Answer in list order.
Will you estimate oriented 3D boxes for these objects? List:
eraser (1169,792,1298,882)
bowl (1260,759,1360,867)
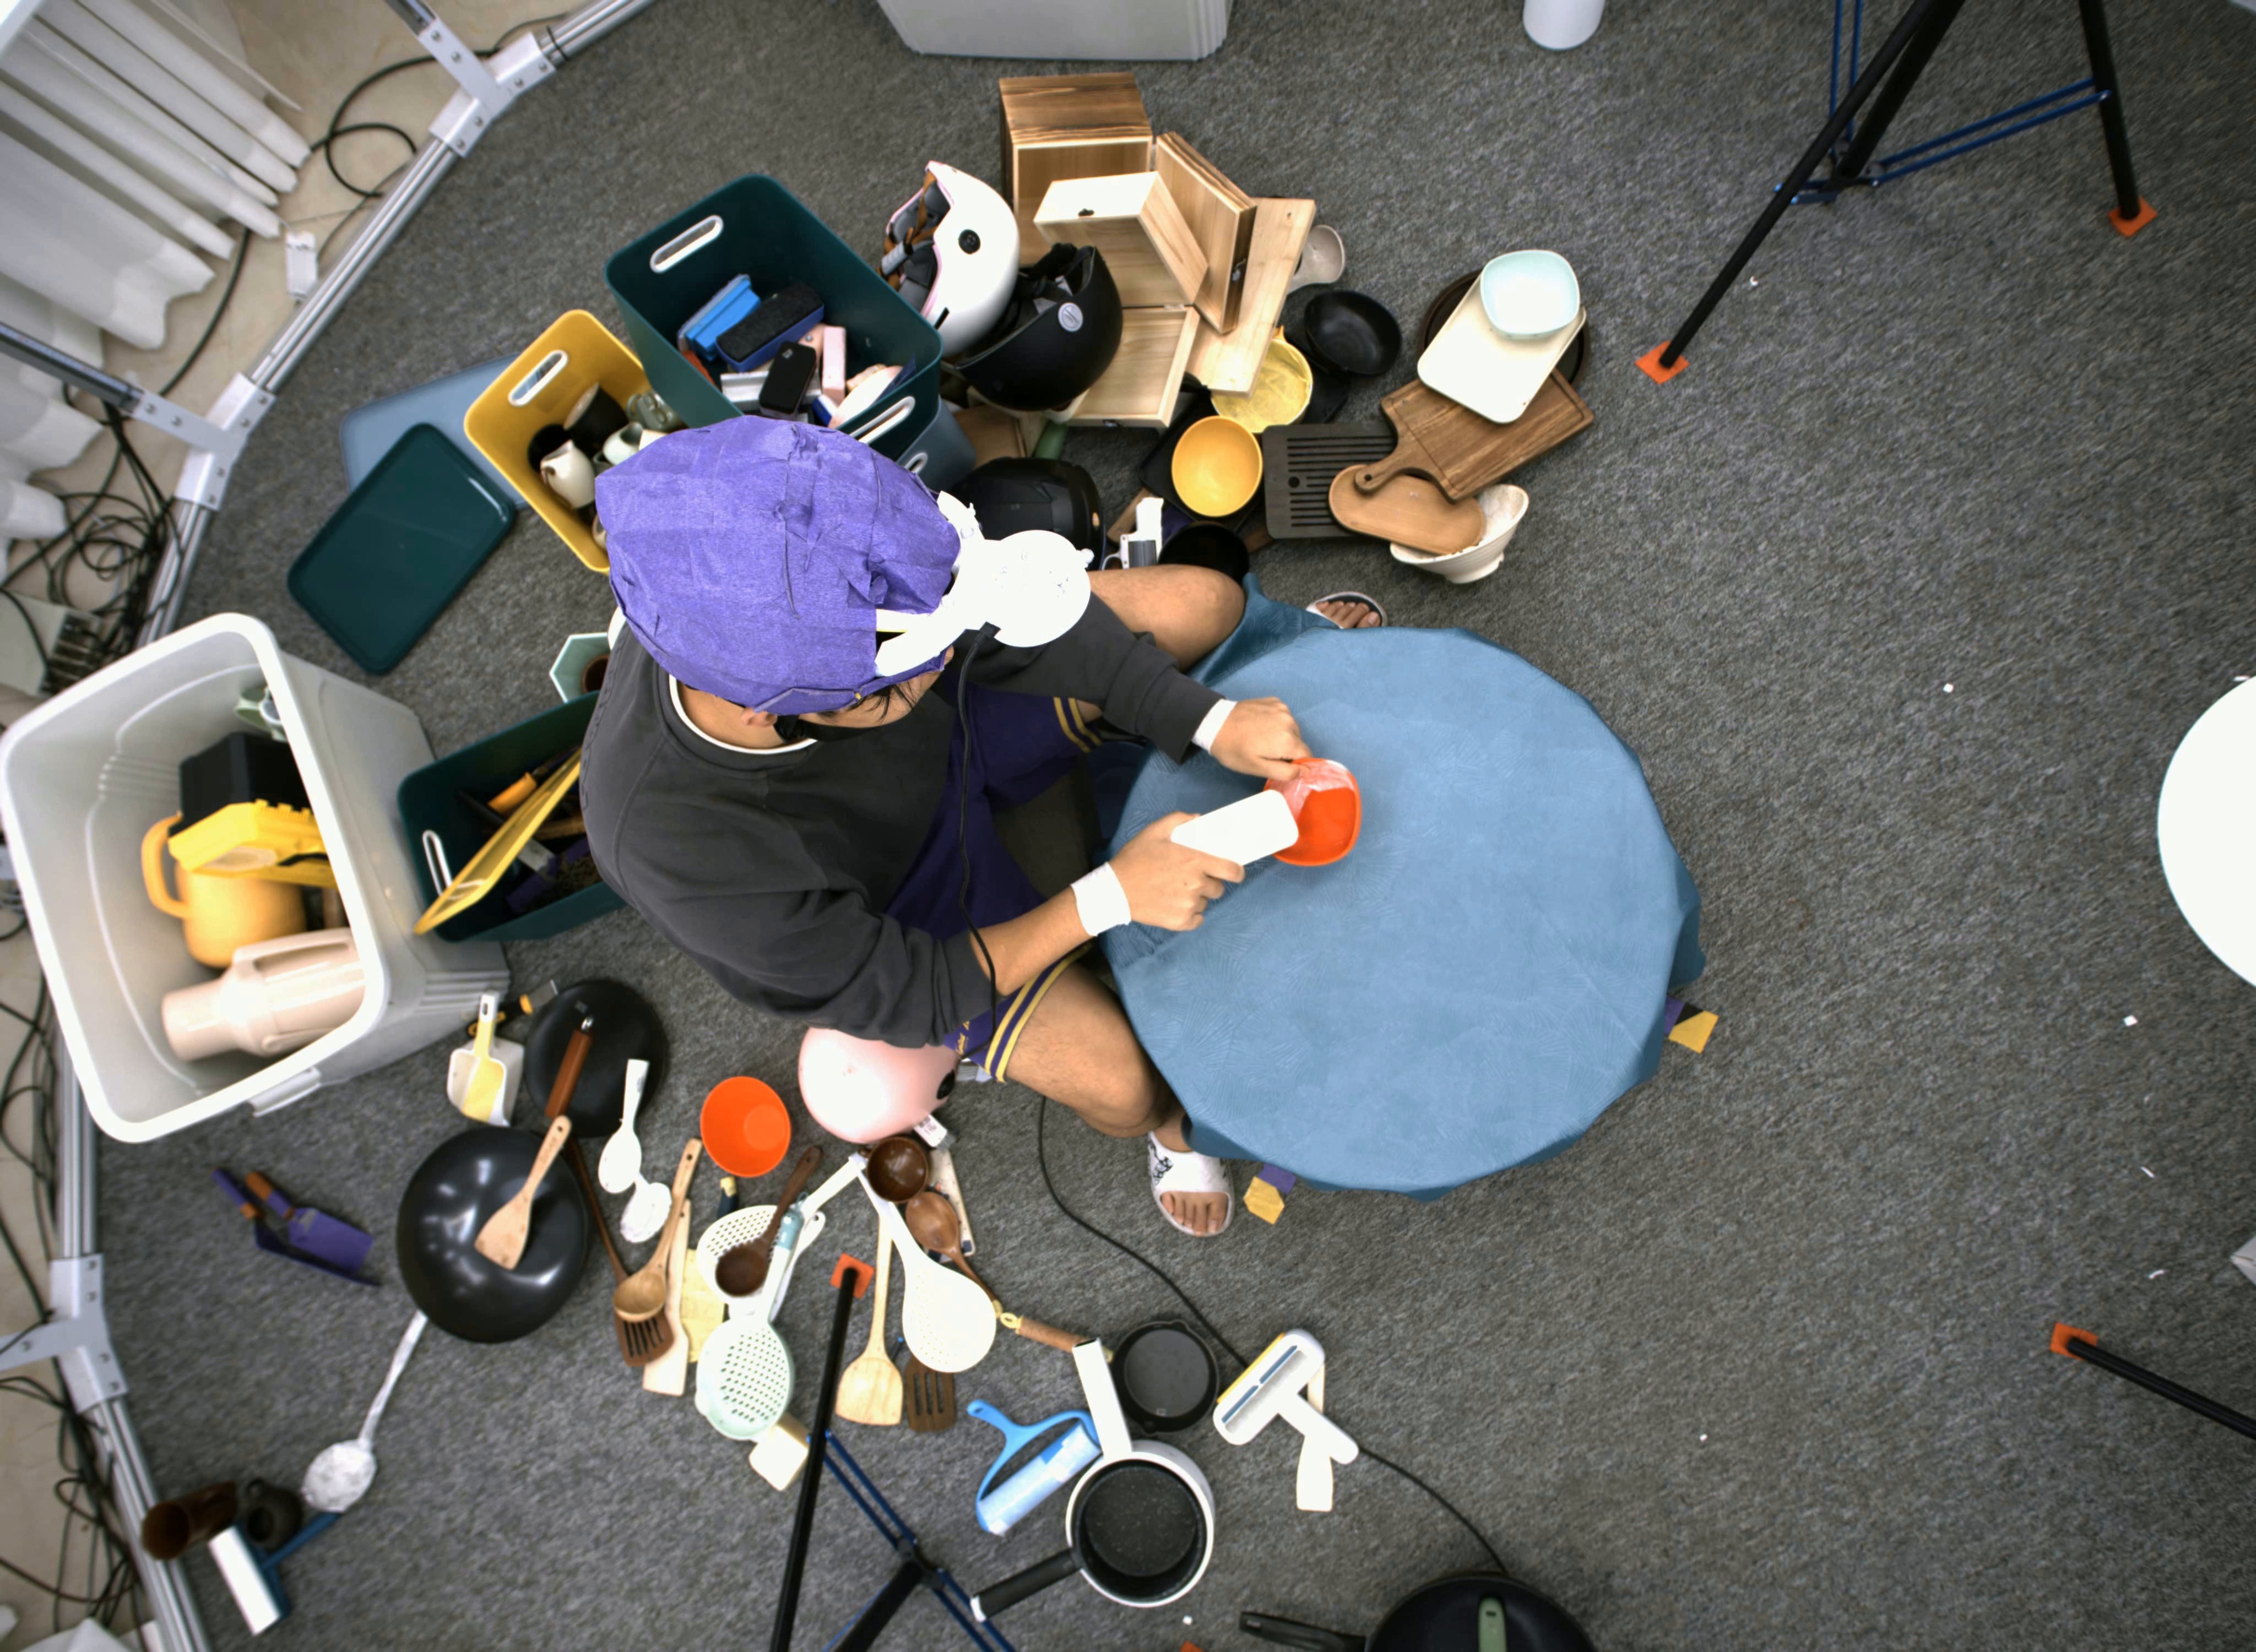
[{"bbox_3d":[0.106,0.010,1.408,0.130,0.035,0.063,-19,84,-15],"label":"eraser"},{"bbox_3d":[0.195,-0.013,1.428,0.120,0.051,0.118,-1,89,33],"label":"bowl"}]
